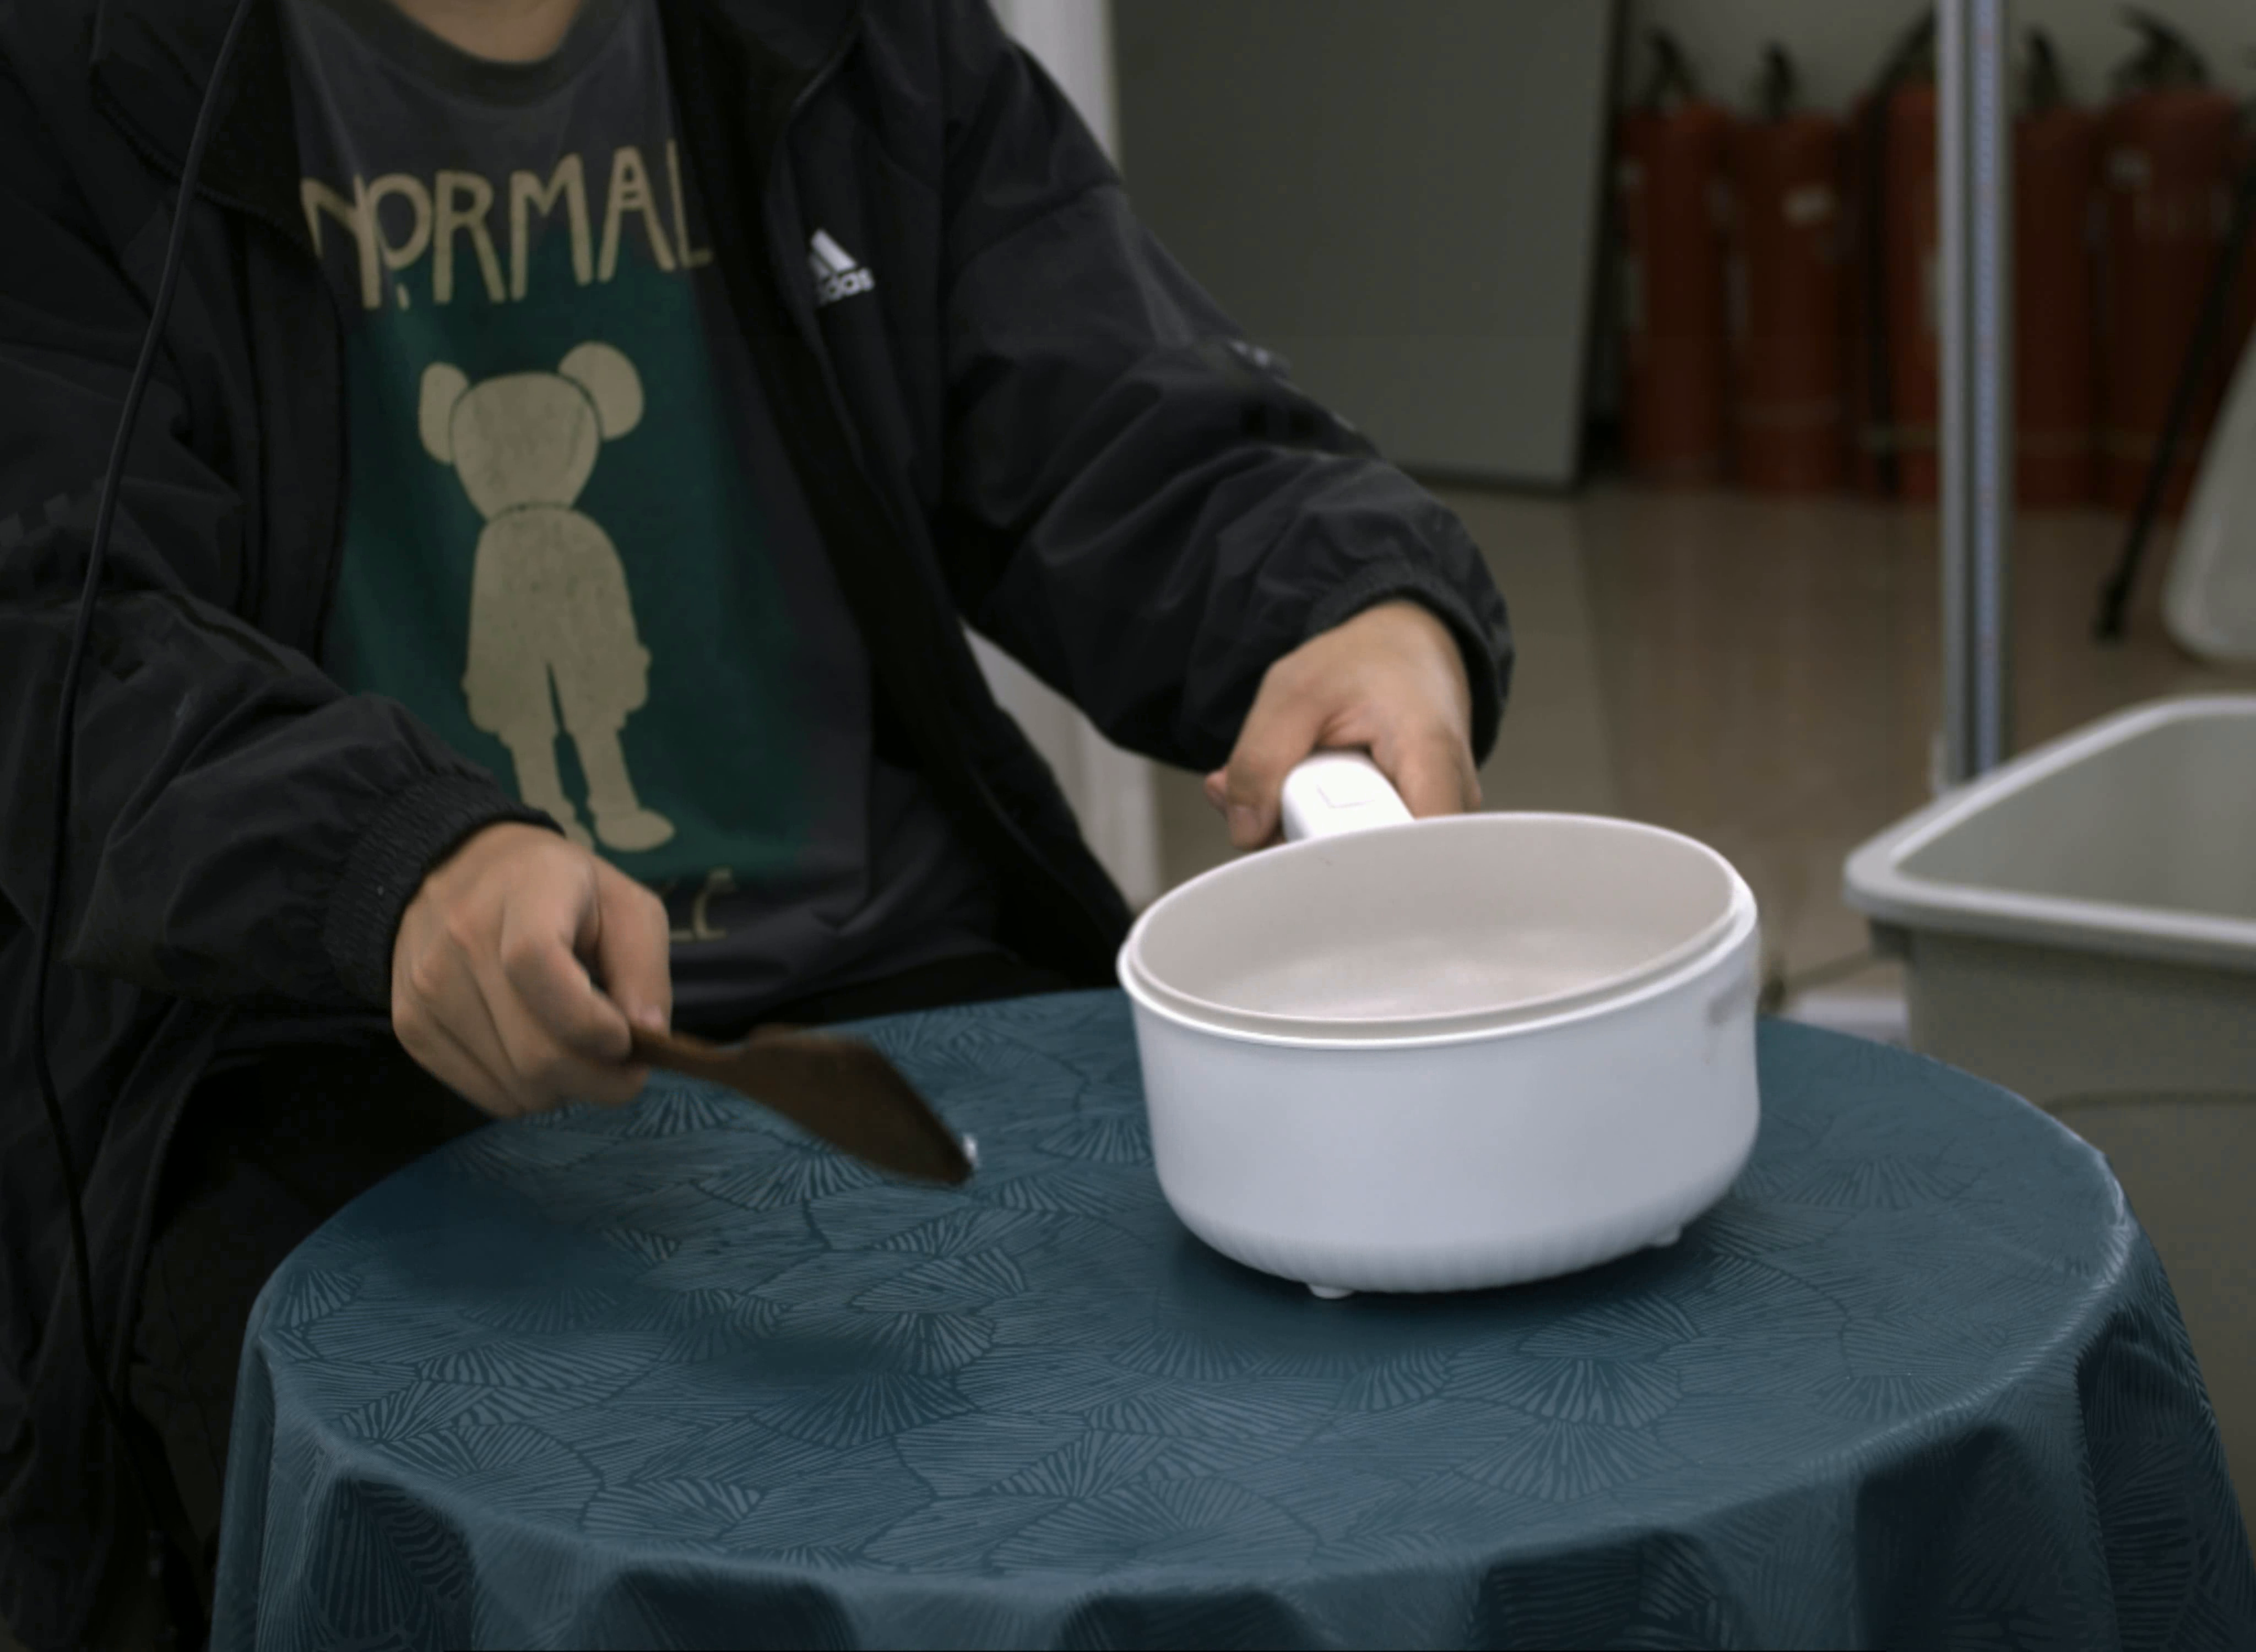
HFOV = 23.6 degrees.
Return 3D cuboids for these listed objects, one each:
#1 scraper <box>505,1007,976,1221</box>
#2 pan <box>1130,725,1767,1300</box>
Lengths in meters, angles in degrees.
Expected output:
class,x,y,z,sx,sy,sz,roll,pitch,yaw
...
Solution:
class,x,y,z,sx,sy,sz,roll,pitch,yaw
scraper,-0.129,0.082,1.689,0.213,0.075,0.011,11,54,48
pan,0.094,0.056,1.771,0.198,0.103,0.356,-9,15,-5
